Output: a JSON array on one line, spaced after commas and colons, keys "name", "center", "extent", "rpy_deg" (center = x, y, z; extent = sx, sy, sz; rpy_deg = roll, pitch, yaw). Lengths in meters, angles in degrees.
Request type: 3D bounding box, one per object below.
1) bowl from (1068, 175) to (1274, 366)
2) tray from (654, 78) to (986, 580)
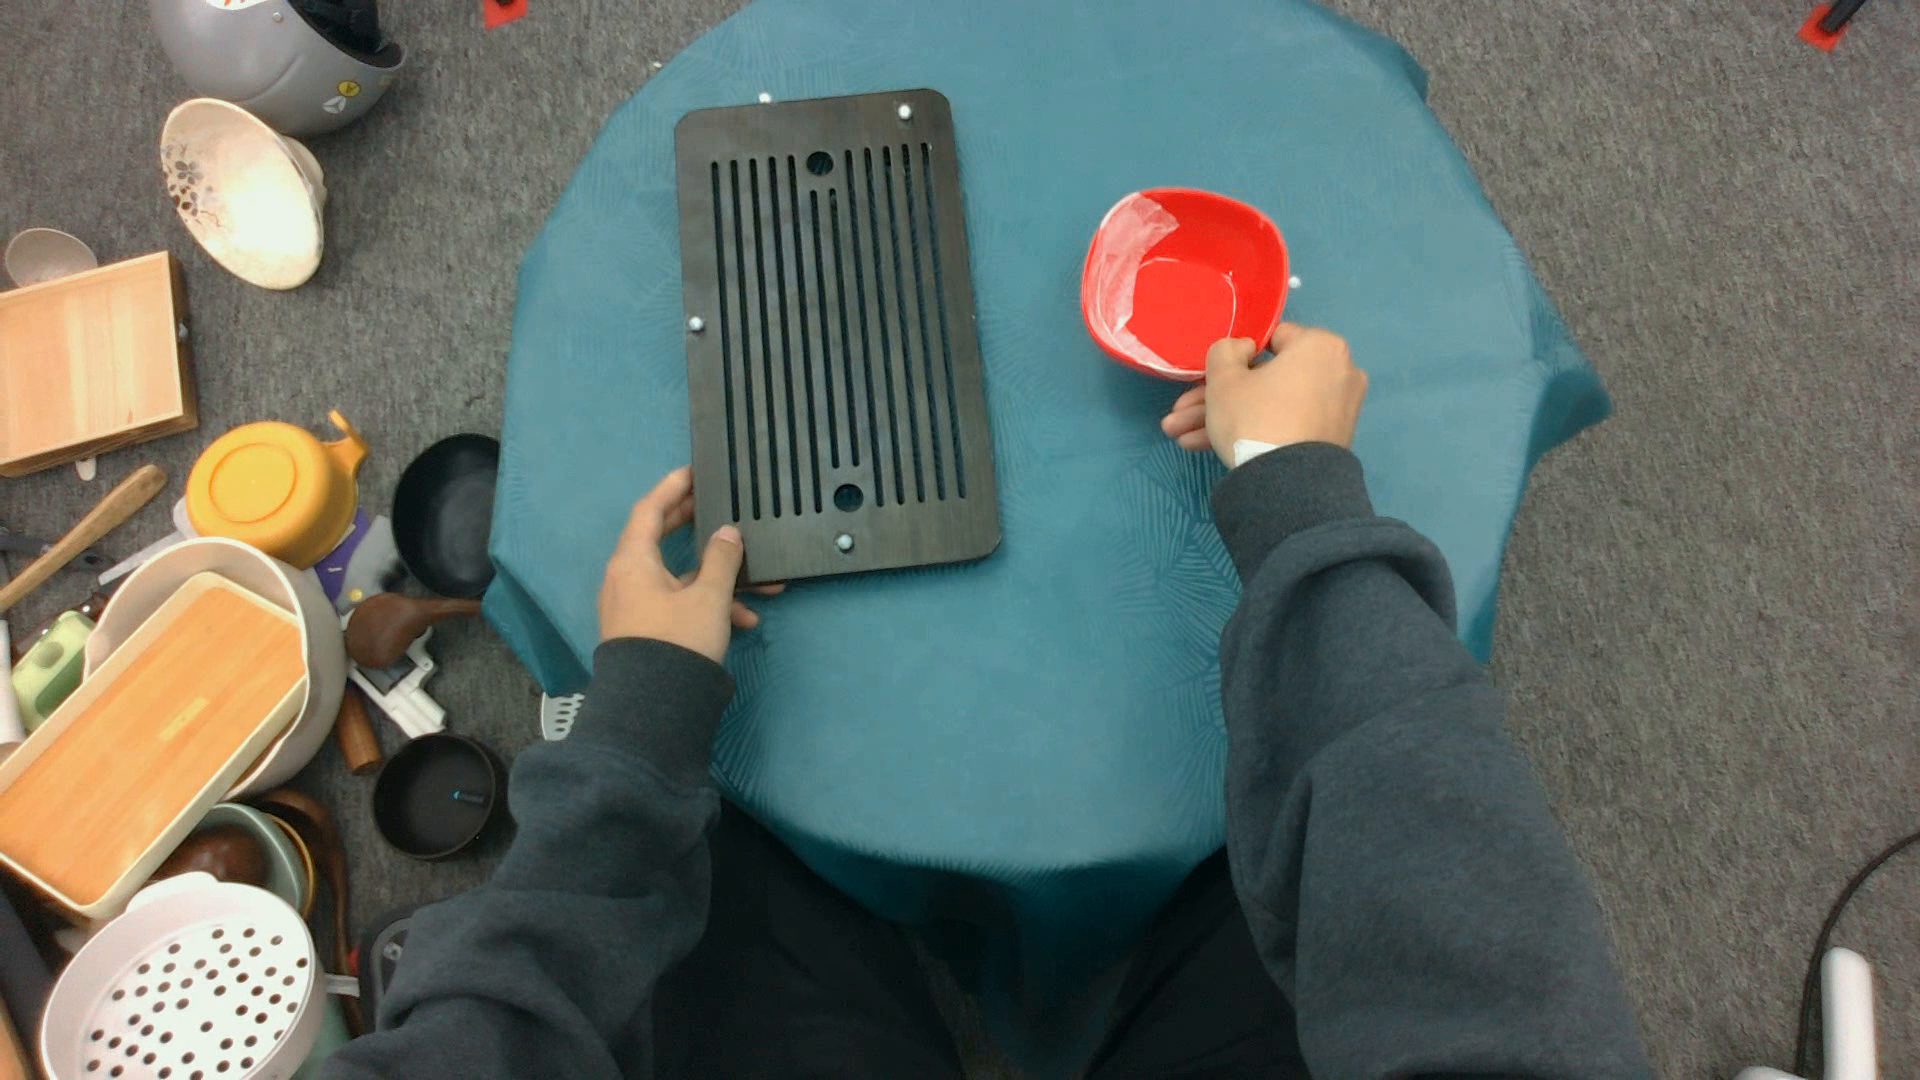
[{"name": "bowl", "center": [0.115, -0.142, 0.771], "extent": [0.119, 0.051, 0.119], "rpy_deg": [0, 72, 1]}, {"name": "tray", "center": [-0.086, -0.130, 0.804], "extent": [0.170, 0.018, 0.306], "rpy_deg": [-7, 72, -1]}]
